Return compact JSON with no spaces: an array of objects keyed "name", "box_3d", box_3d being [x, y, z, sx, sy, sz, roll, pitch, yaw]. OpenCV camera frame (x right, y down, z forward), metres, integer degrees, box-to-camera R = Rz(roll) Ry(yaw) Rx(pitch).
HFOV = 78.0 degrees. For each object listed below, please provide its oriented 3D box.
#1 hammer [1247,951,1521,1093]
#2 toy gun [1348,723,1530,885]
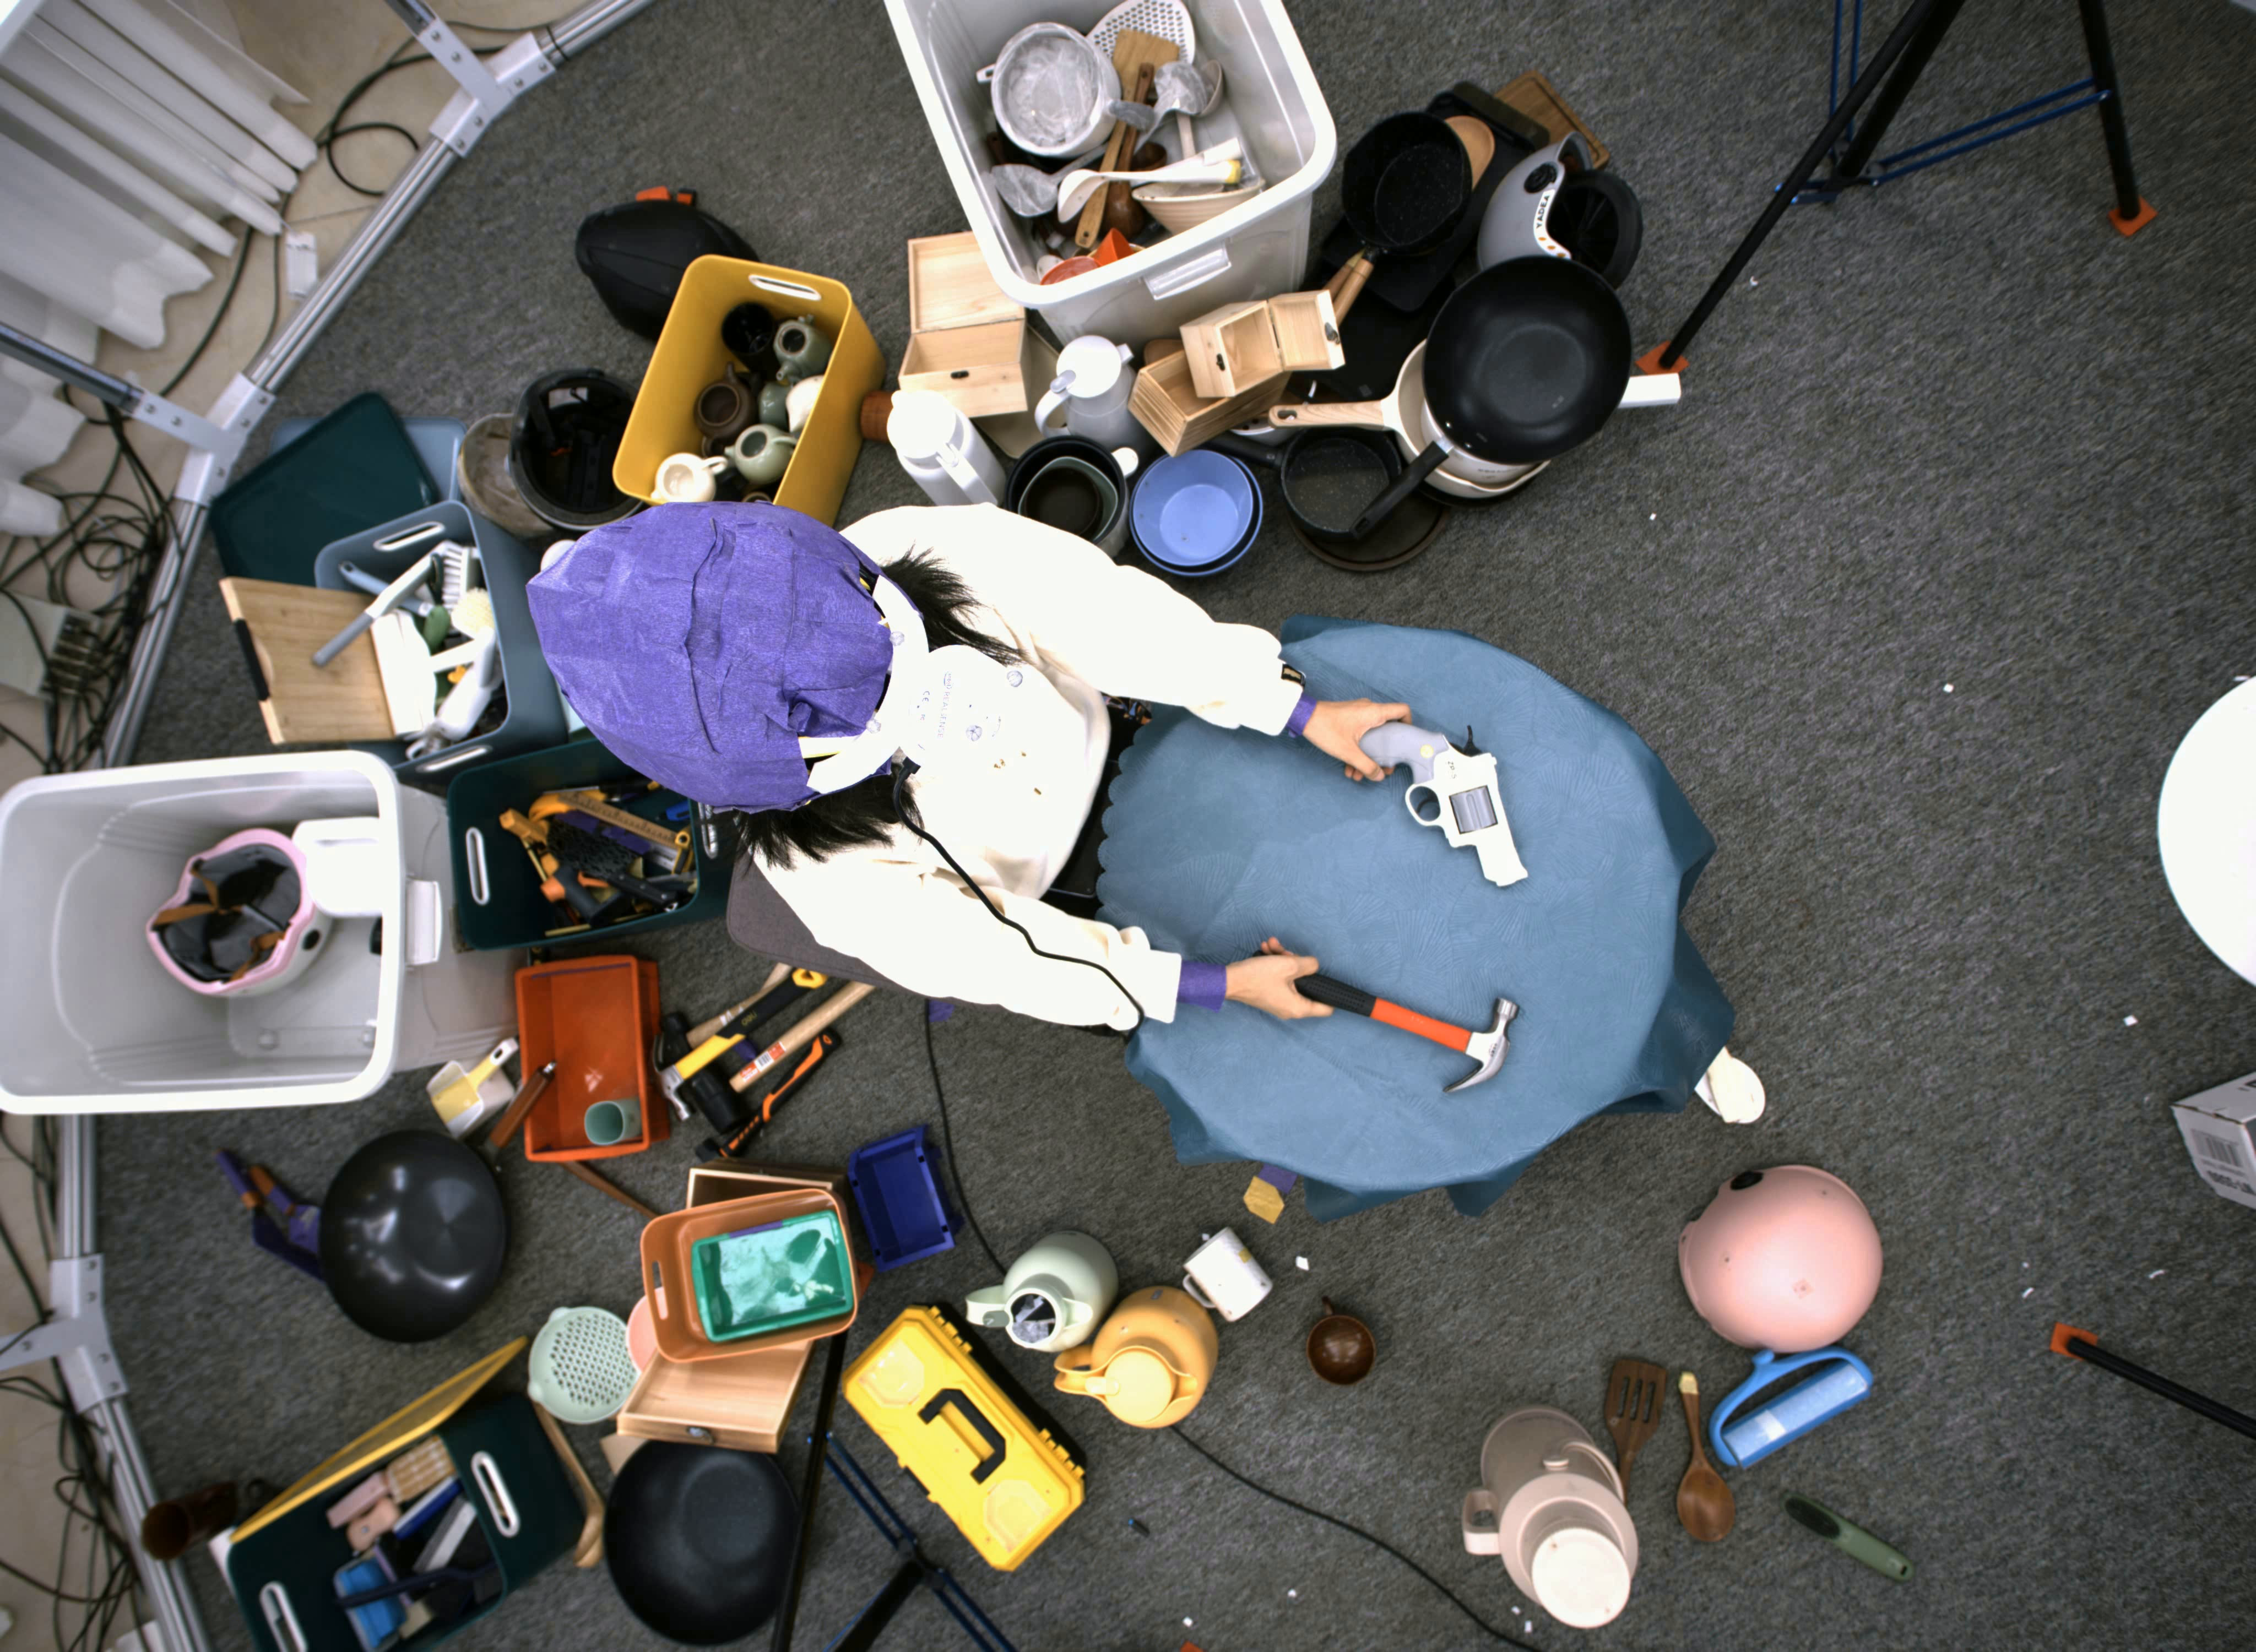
[{"name":"hammer","box_3d":[0.257,0.189,1.428,0.277,0.026,0.111,19,100,6]},{"name":"toy gun","box_3d":[0.320,-0.027,1.430,0.143,0.038,0.209,-18,94,13]}]
